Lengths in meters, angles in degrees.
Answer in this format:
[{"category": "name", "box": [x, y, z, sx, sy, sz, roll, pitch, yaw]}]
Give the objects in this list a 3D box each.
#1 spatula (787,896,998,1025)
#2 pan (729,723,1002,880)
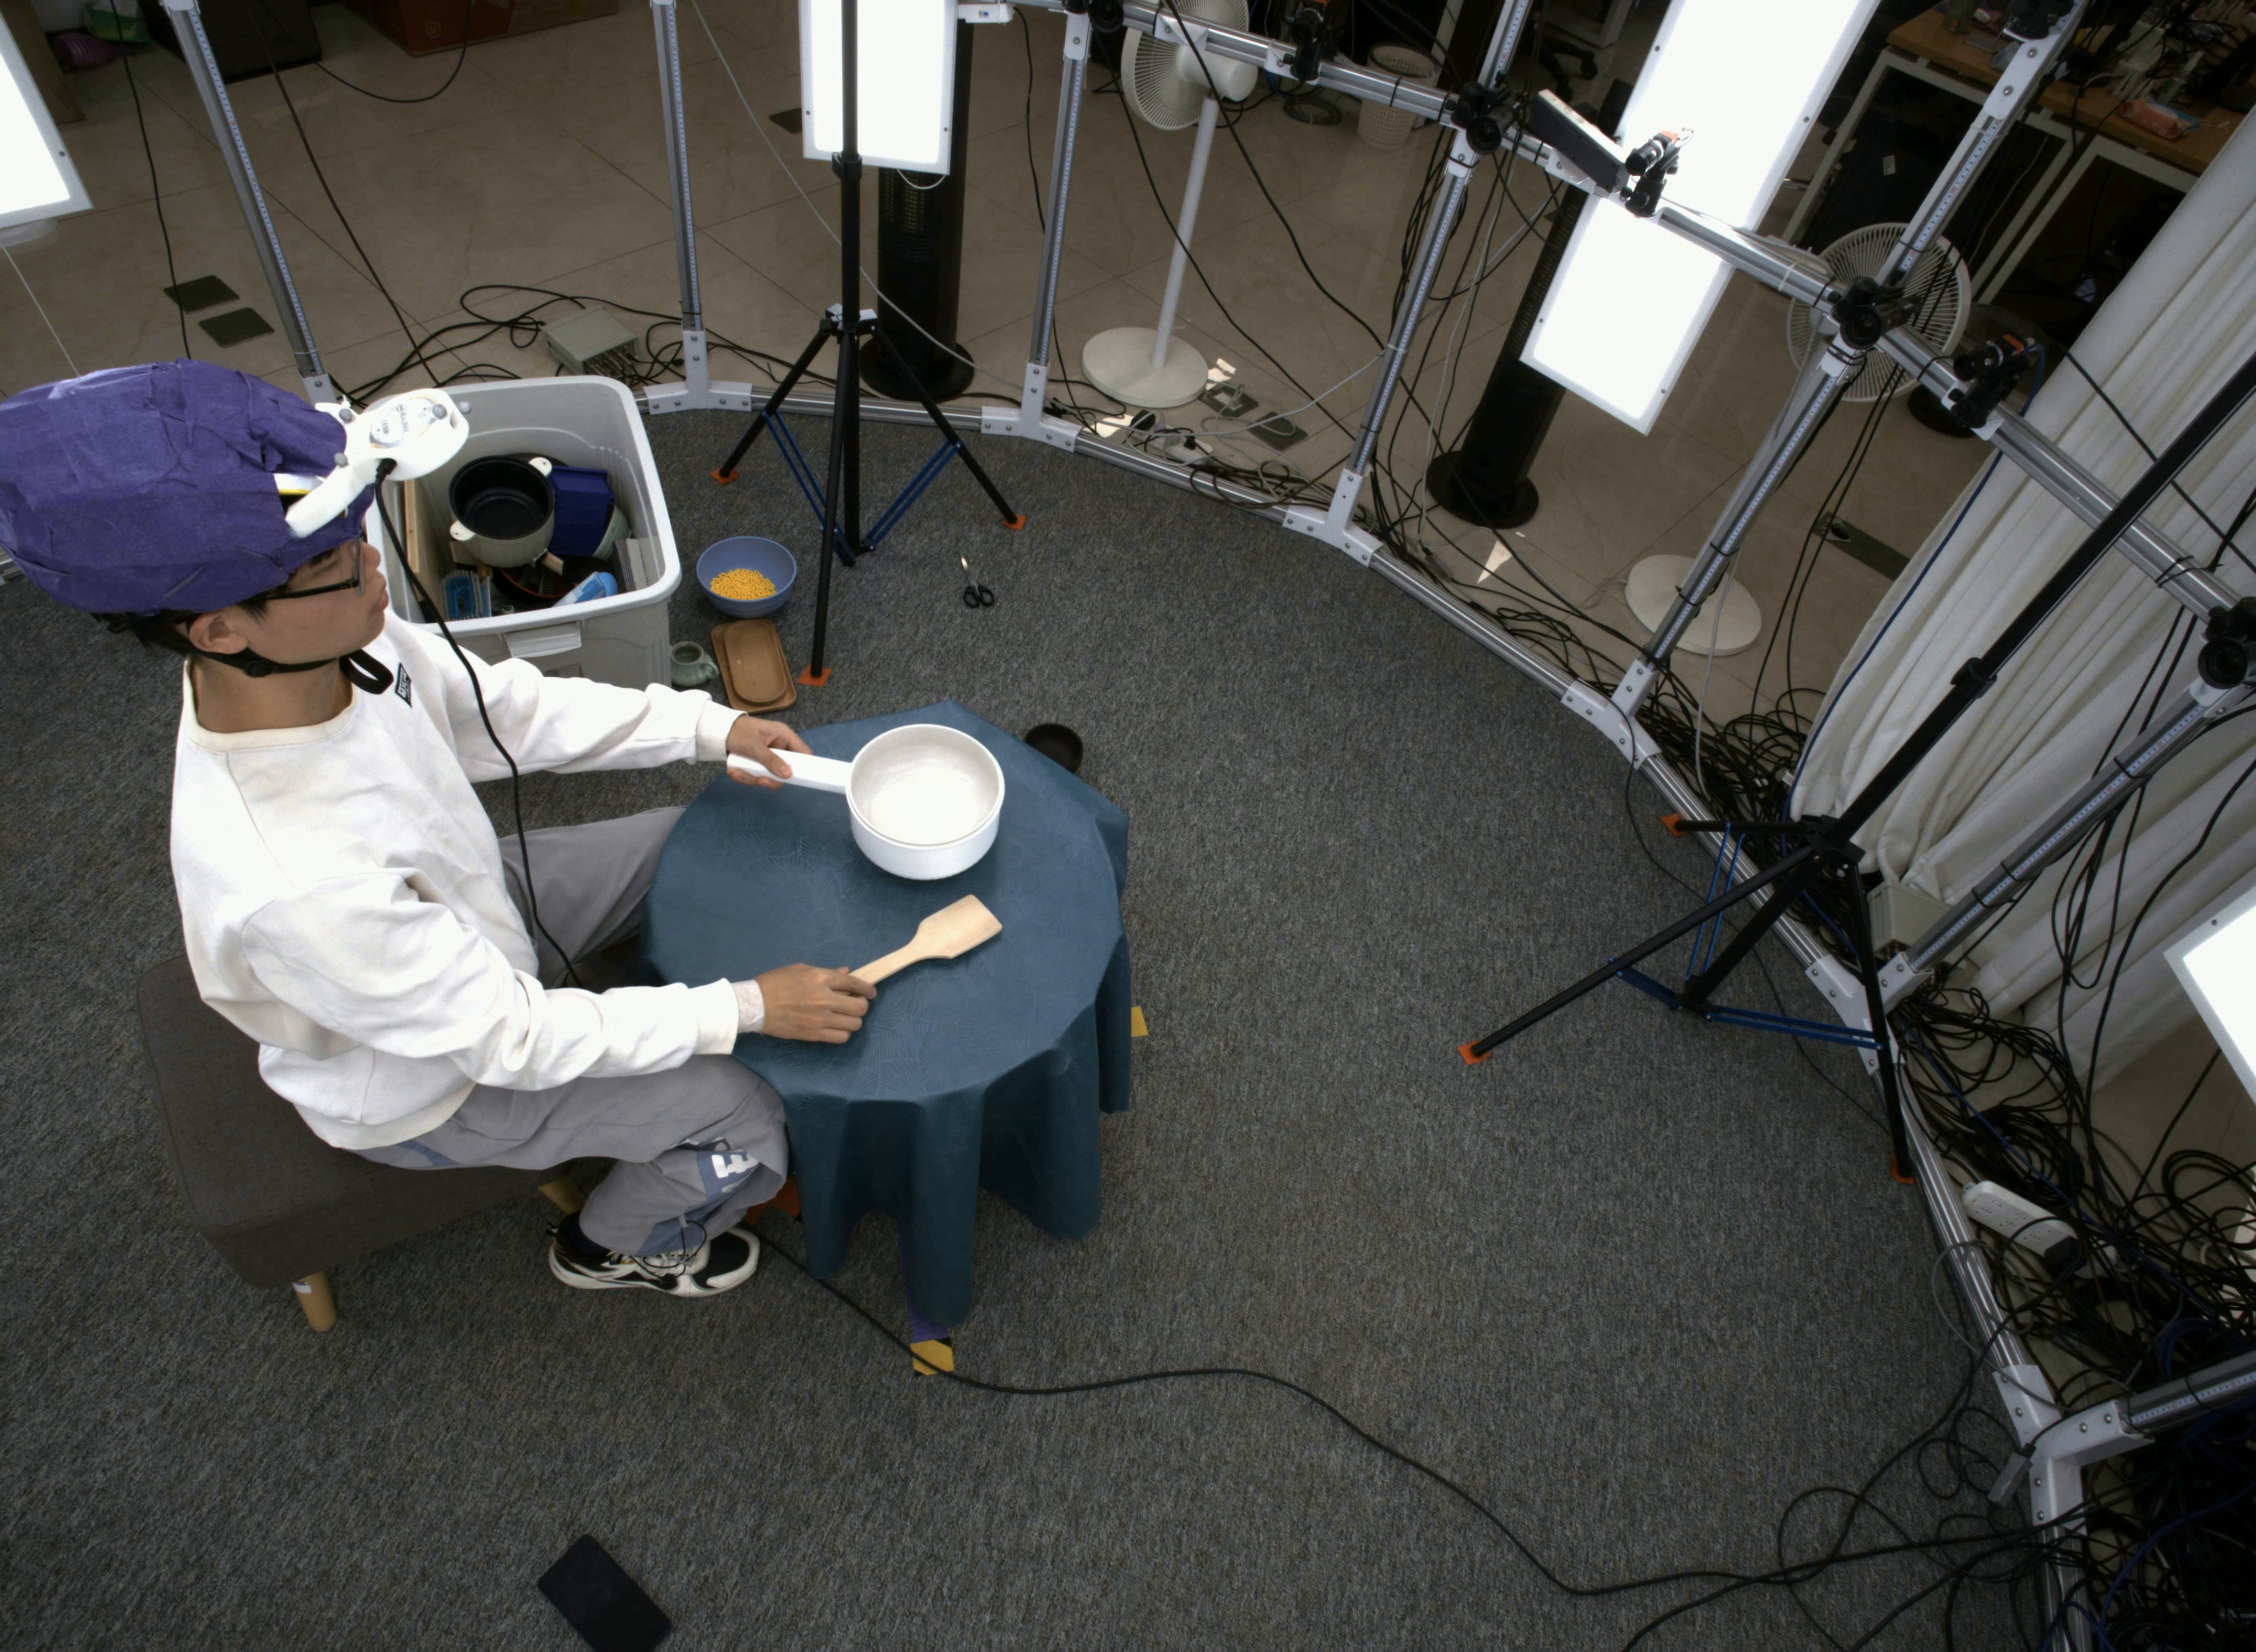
[{"category": "spatula", "box": [-0.293, 0.169, 1.617, 0.294, 0.011, 0.070, -28, 60, -34]}, {"category": "pan", "box": [-0.341, -0.040, 1.705, 0.352, 0.104, 0.198, 9, 55, -3]}]
